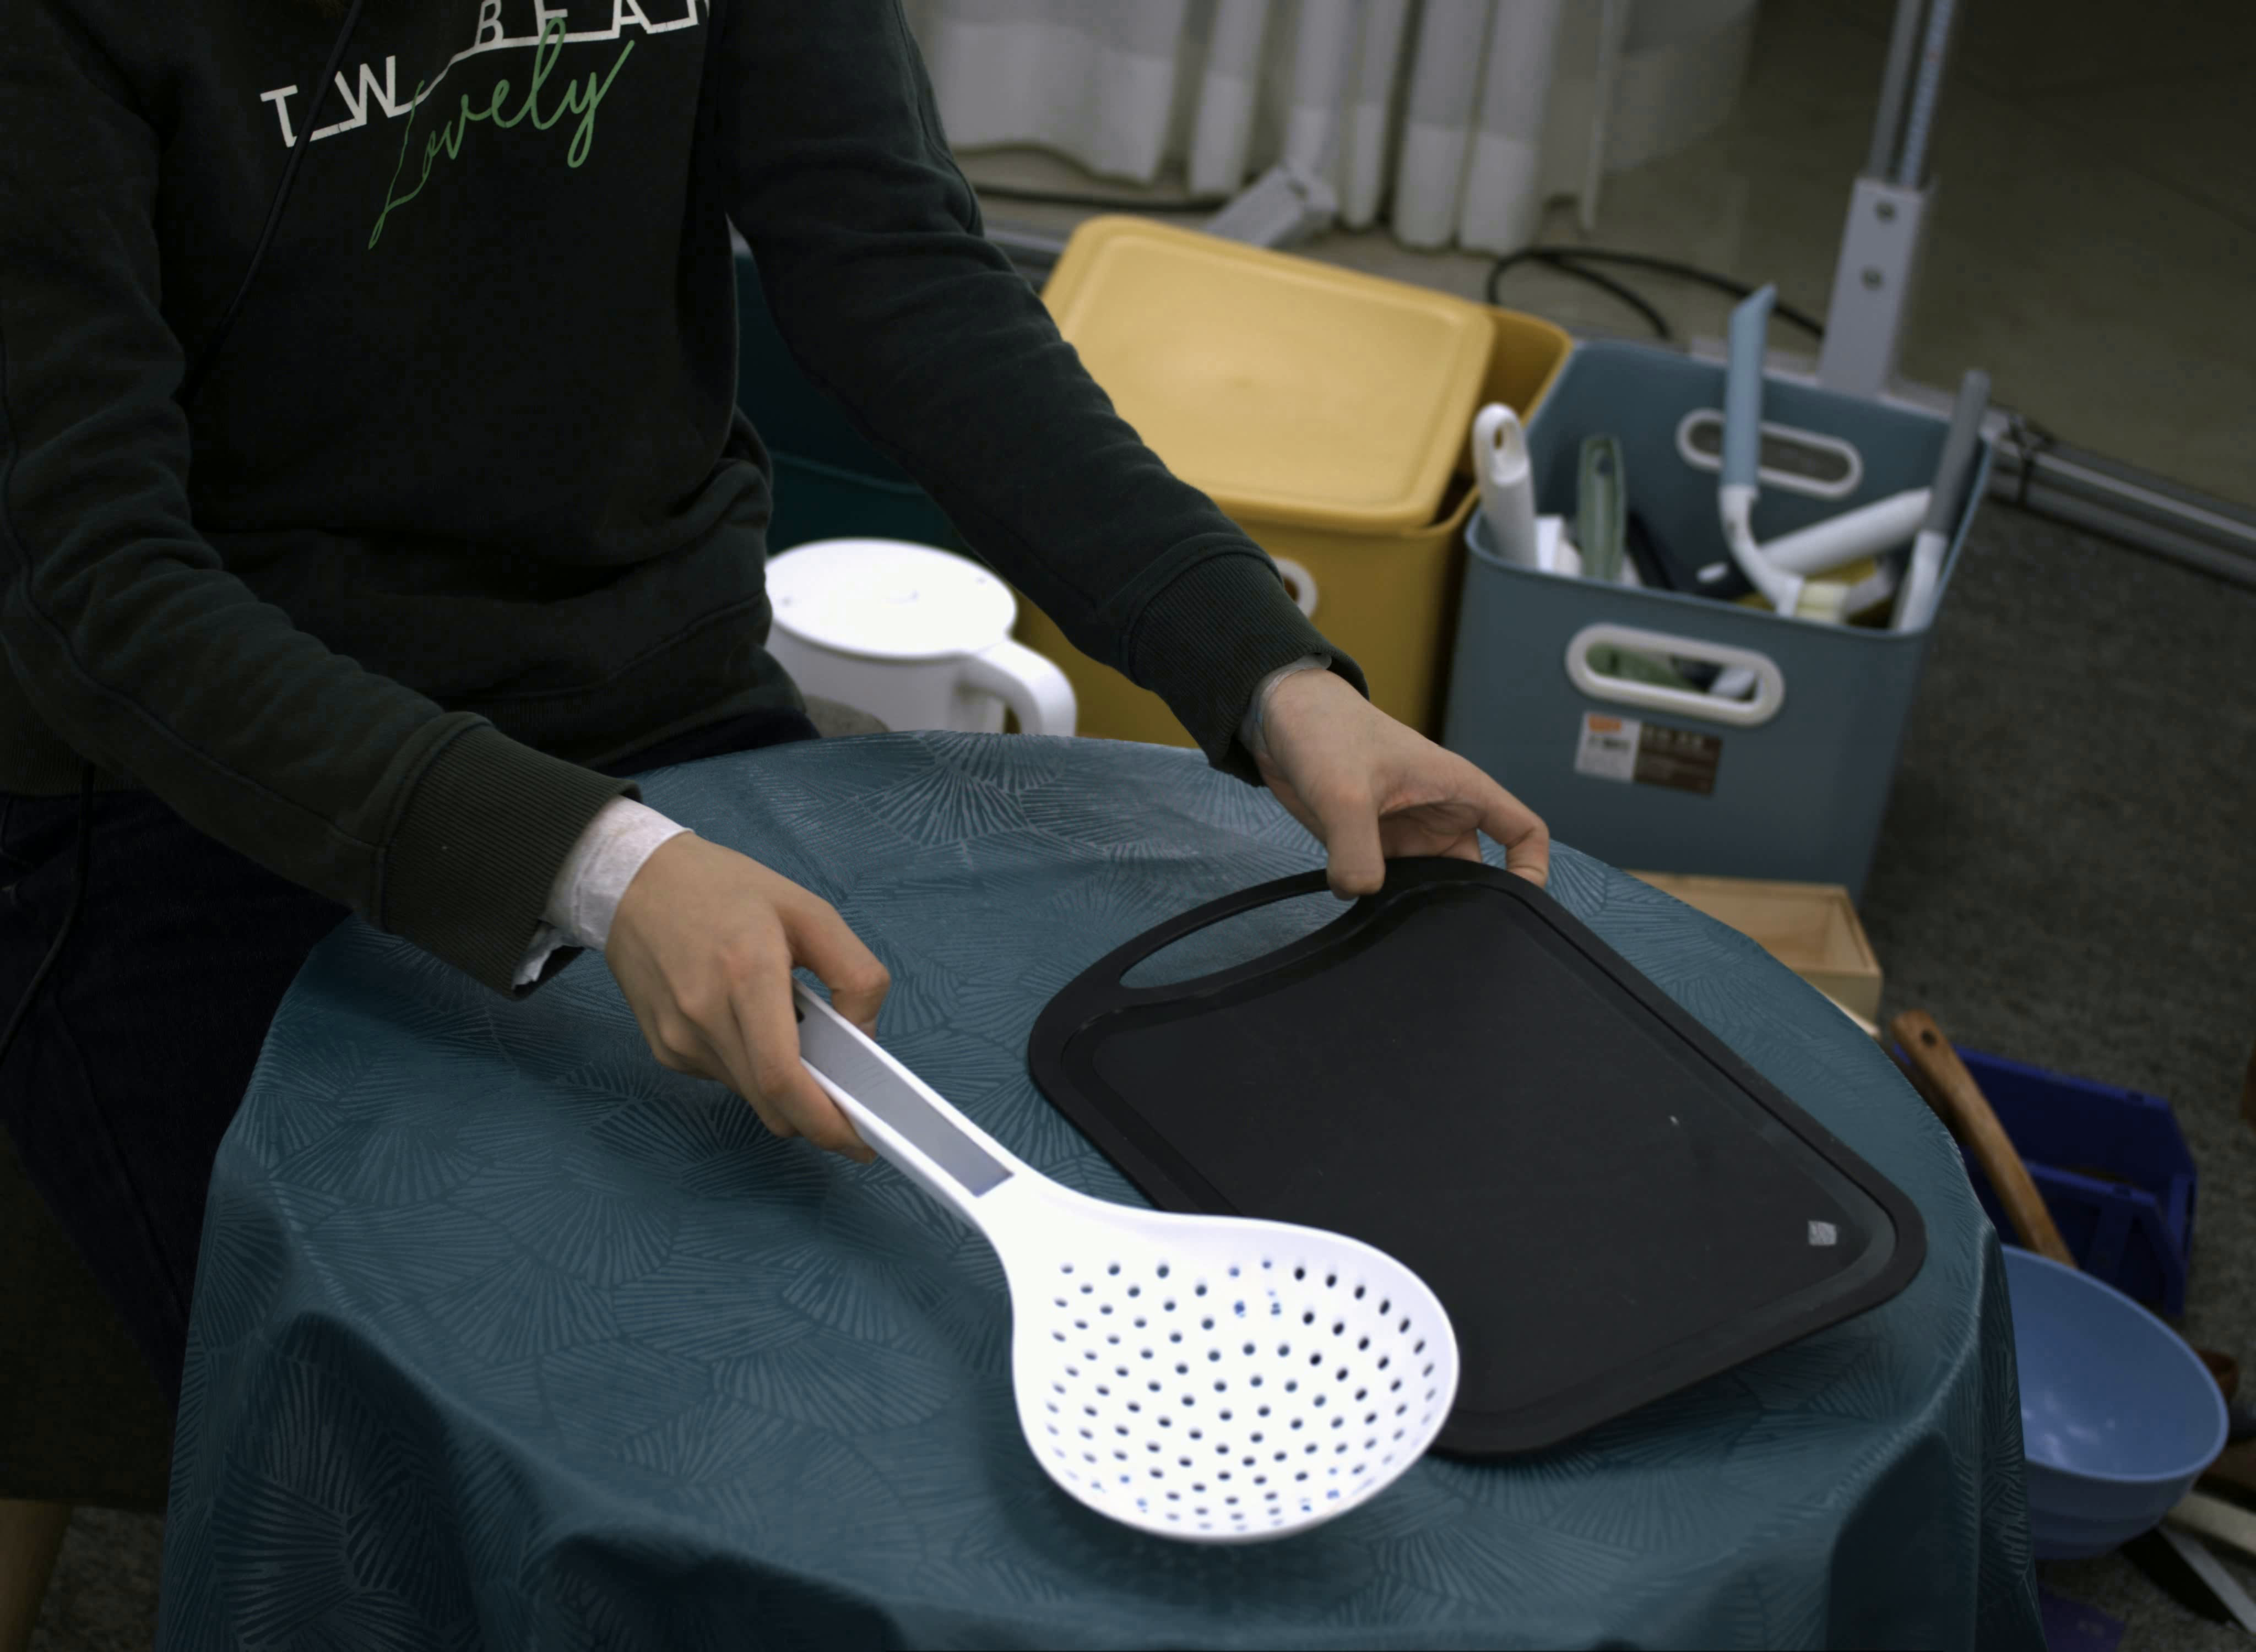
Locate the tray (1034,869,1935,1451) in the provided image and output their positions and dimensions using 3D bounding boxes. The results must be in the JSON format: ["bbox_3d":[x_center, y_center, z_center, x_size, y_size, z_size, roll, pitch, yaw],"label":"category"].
[{"bbox_3d":[0.111,0.103,1.816,0.210,0.010,0.328,-19,35,-23],"label":"tray"}]

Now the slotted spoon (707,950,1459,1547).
[{"bbox_3d":[-0.031,0.128,1.703,0.135,0.045,0.353,-29,46,-25],"label":"slotted spoon"}]
